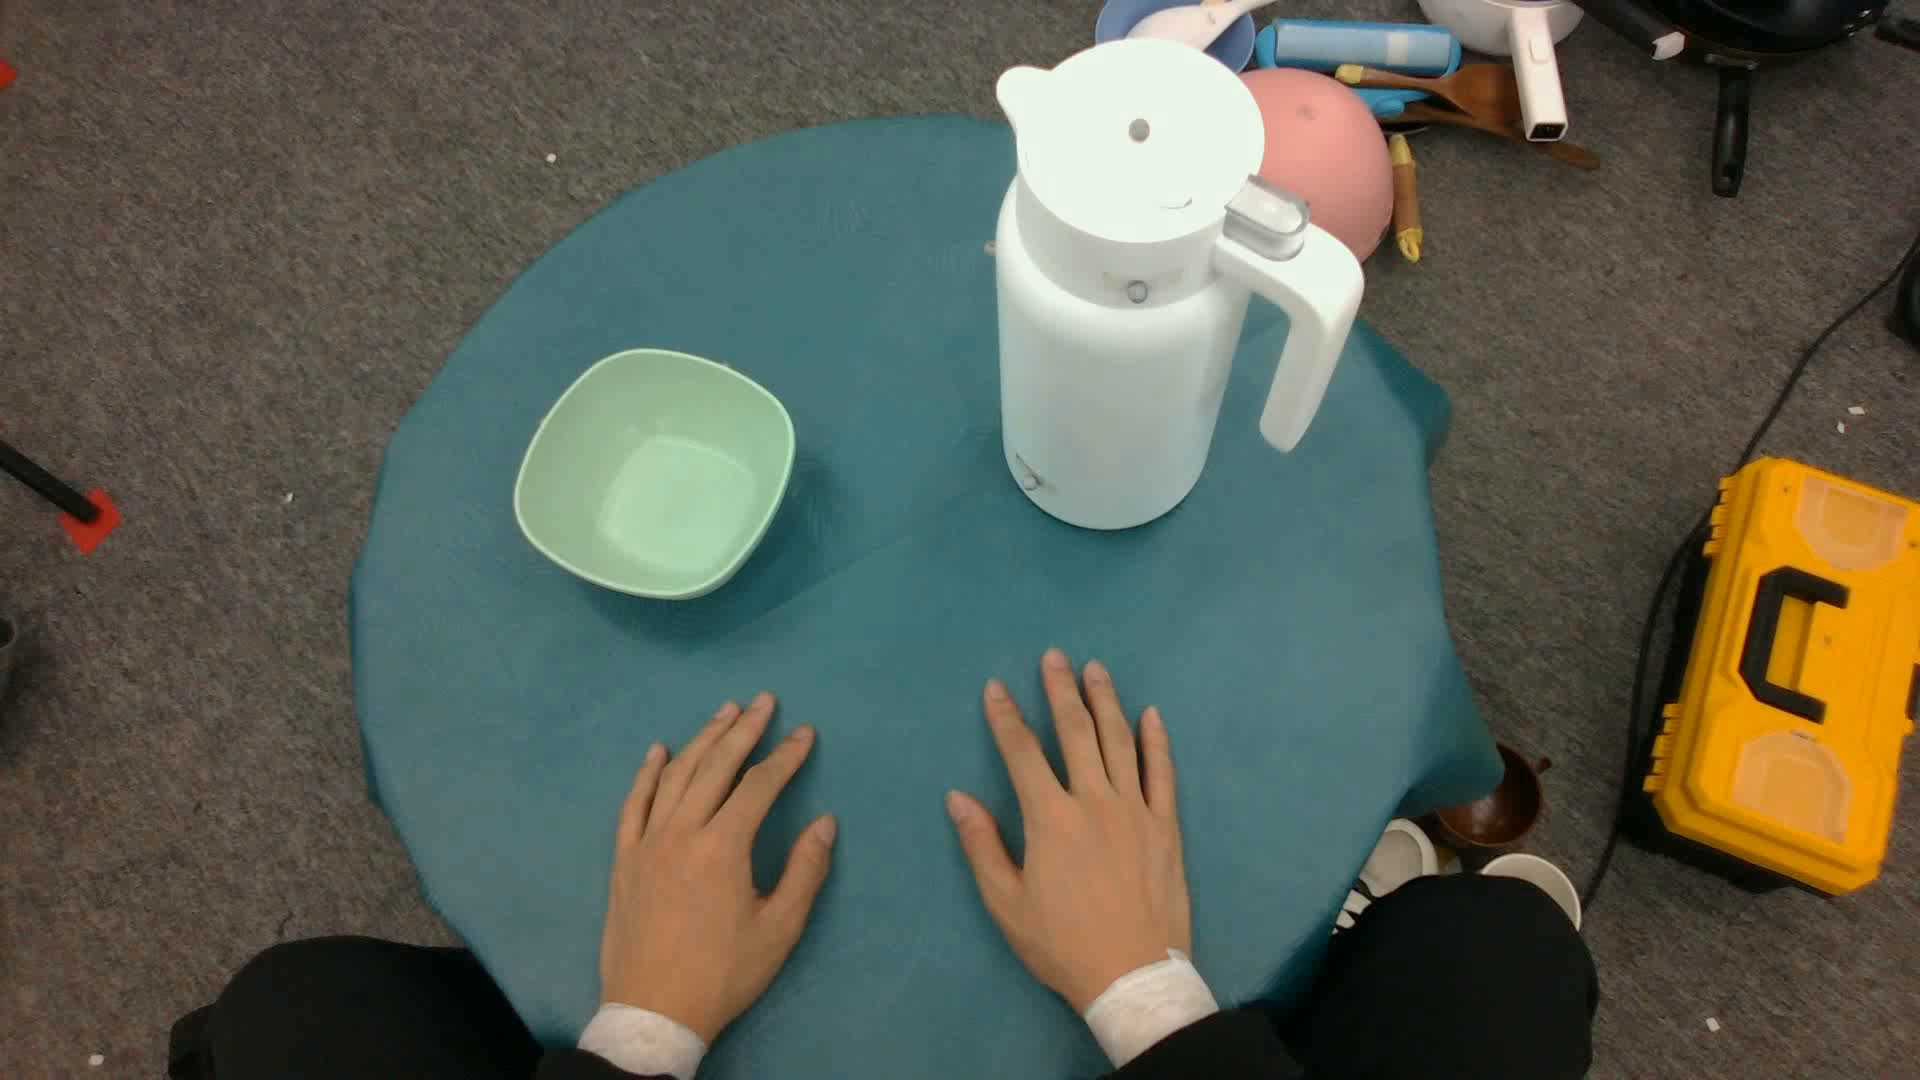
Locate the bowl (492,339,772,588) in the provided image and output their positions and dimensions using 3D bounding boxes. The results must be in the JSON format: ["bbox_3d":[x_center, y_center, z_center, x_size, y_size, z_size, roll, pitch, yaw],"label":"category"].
[{"bbox_3d":[-0.172,-0.034,0.754,0.151,0.058,0.152,-1,67,2],"label":"bowl"}]

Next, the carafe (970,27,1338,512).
[{"bbox_3d":[0.082,-0.109,0.665,0.173,0.268,0.124,32,70,14],"label":"carafe"}]
